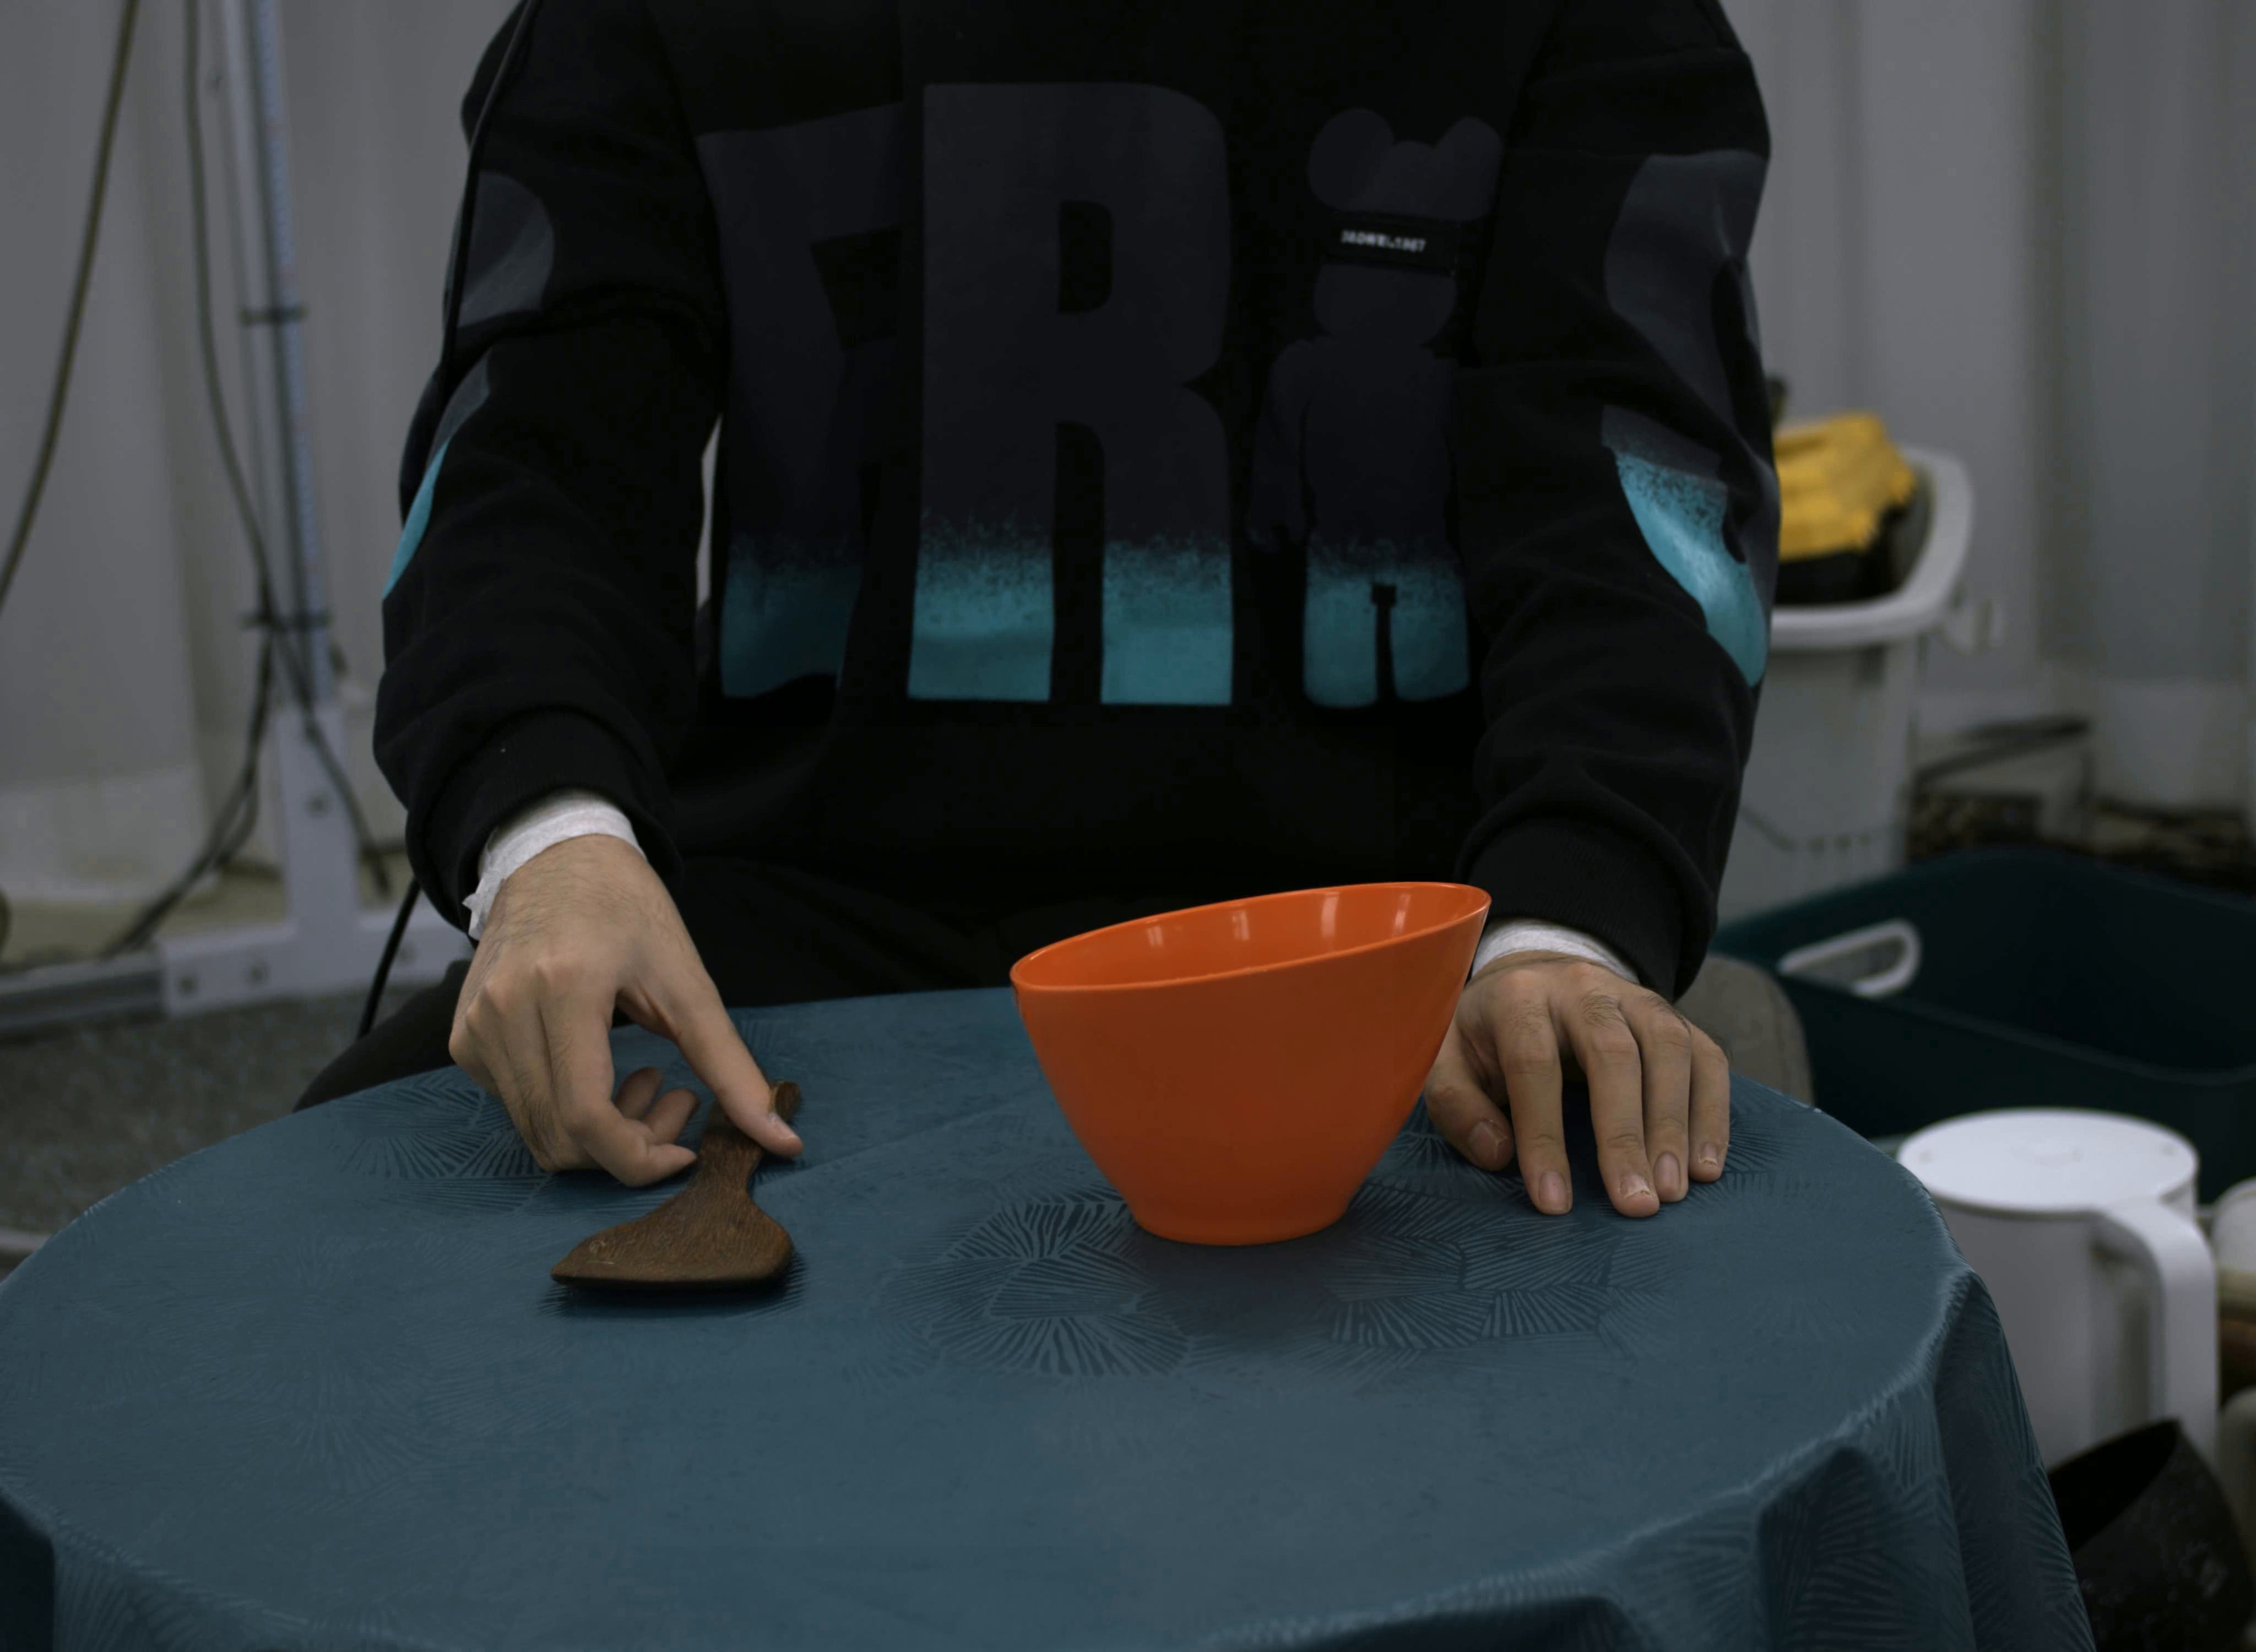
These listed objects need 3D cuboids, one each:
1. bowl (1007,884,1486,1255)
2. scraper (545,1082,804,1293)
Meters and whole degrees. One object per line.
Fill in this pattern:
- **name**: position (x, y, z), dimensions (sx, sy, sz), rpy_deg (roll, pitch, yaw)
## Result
- **bowl**: position (0.039, 0.074, 1.669), dimensions (0.147, 0.104, 0.149), rpy_deg (-5, 14, 1)
- **scraper**: position (-0.130, 0.114, 1.727), dimensions (0.075, 0.011, 0.212), rpy_deg (0, 14, 5)
